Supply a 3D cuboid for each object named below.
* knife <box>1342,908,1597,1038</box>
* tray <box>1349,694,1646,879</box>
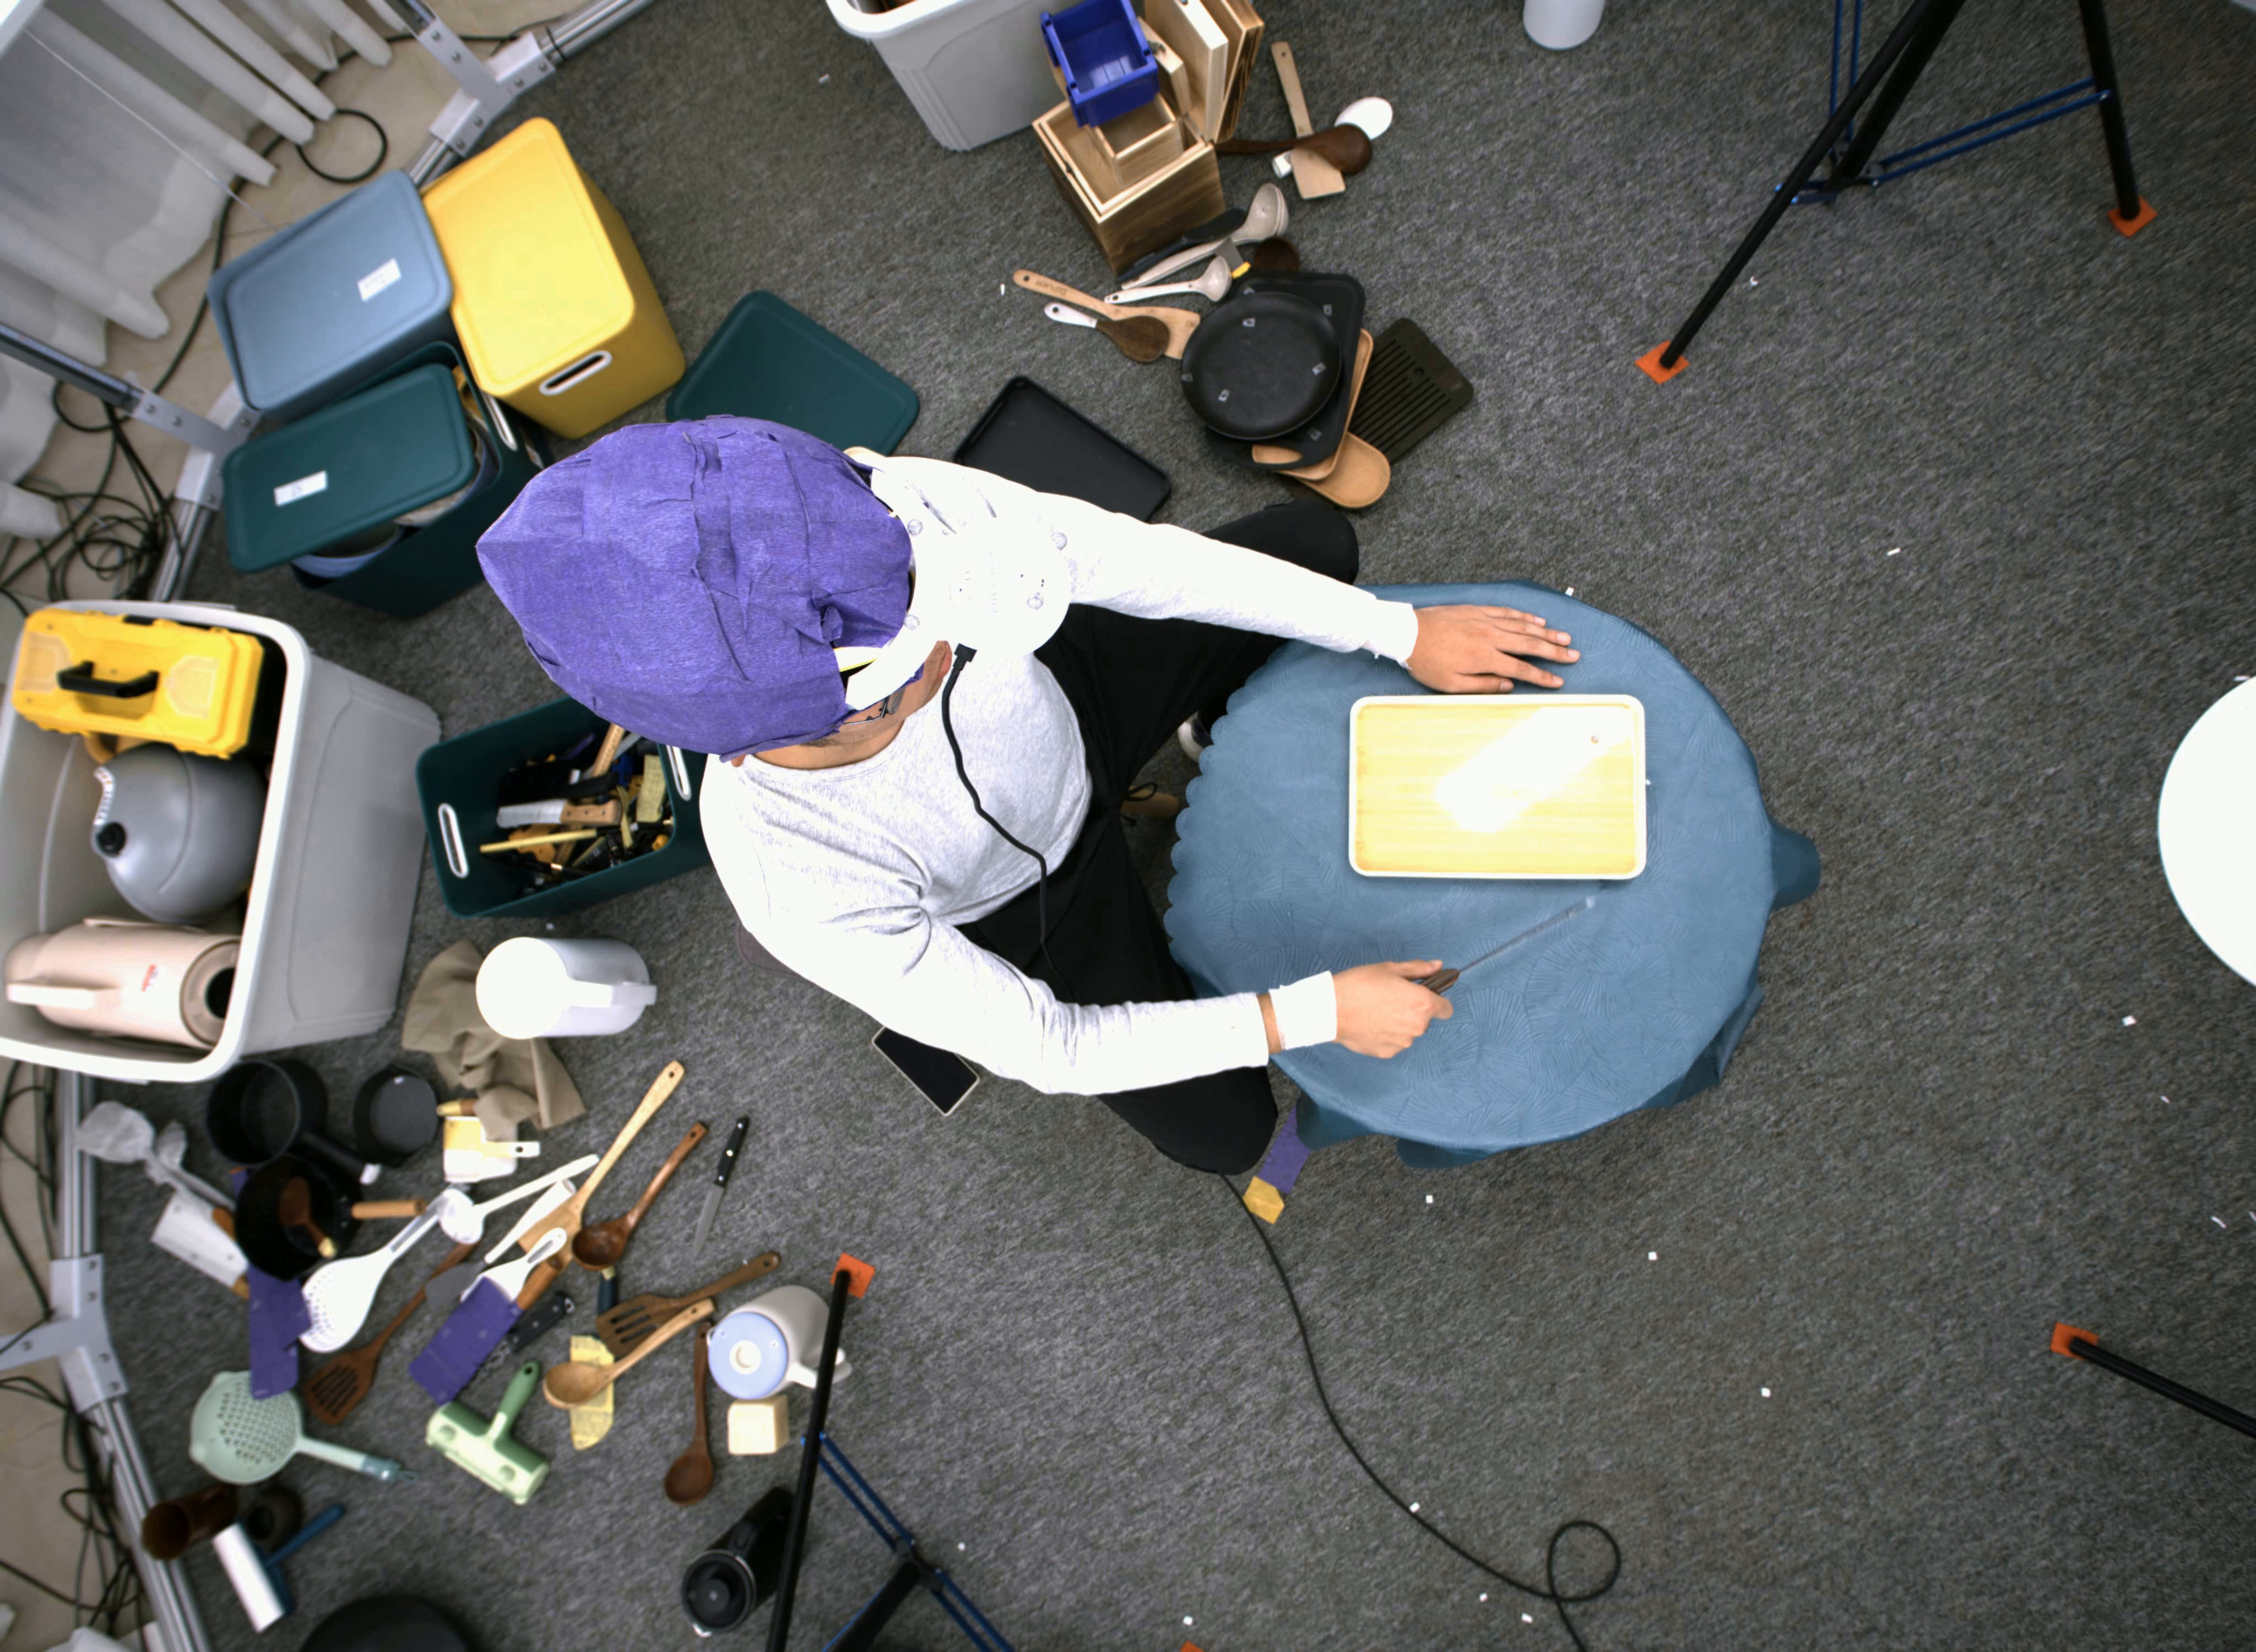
[{"bbox_3d":[0.339,0.138,1.359,0.288,0.051,0.020,-25,76,-5],"label":"knife"},{"bbox_3d":[0.382,-0.044,1.432,0.301,0.027,0.191,1,87,11],"label":"tray"}]
